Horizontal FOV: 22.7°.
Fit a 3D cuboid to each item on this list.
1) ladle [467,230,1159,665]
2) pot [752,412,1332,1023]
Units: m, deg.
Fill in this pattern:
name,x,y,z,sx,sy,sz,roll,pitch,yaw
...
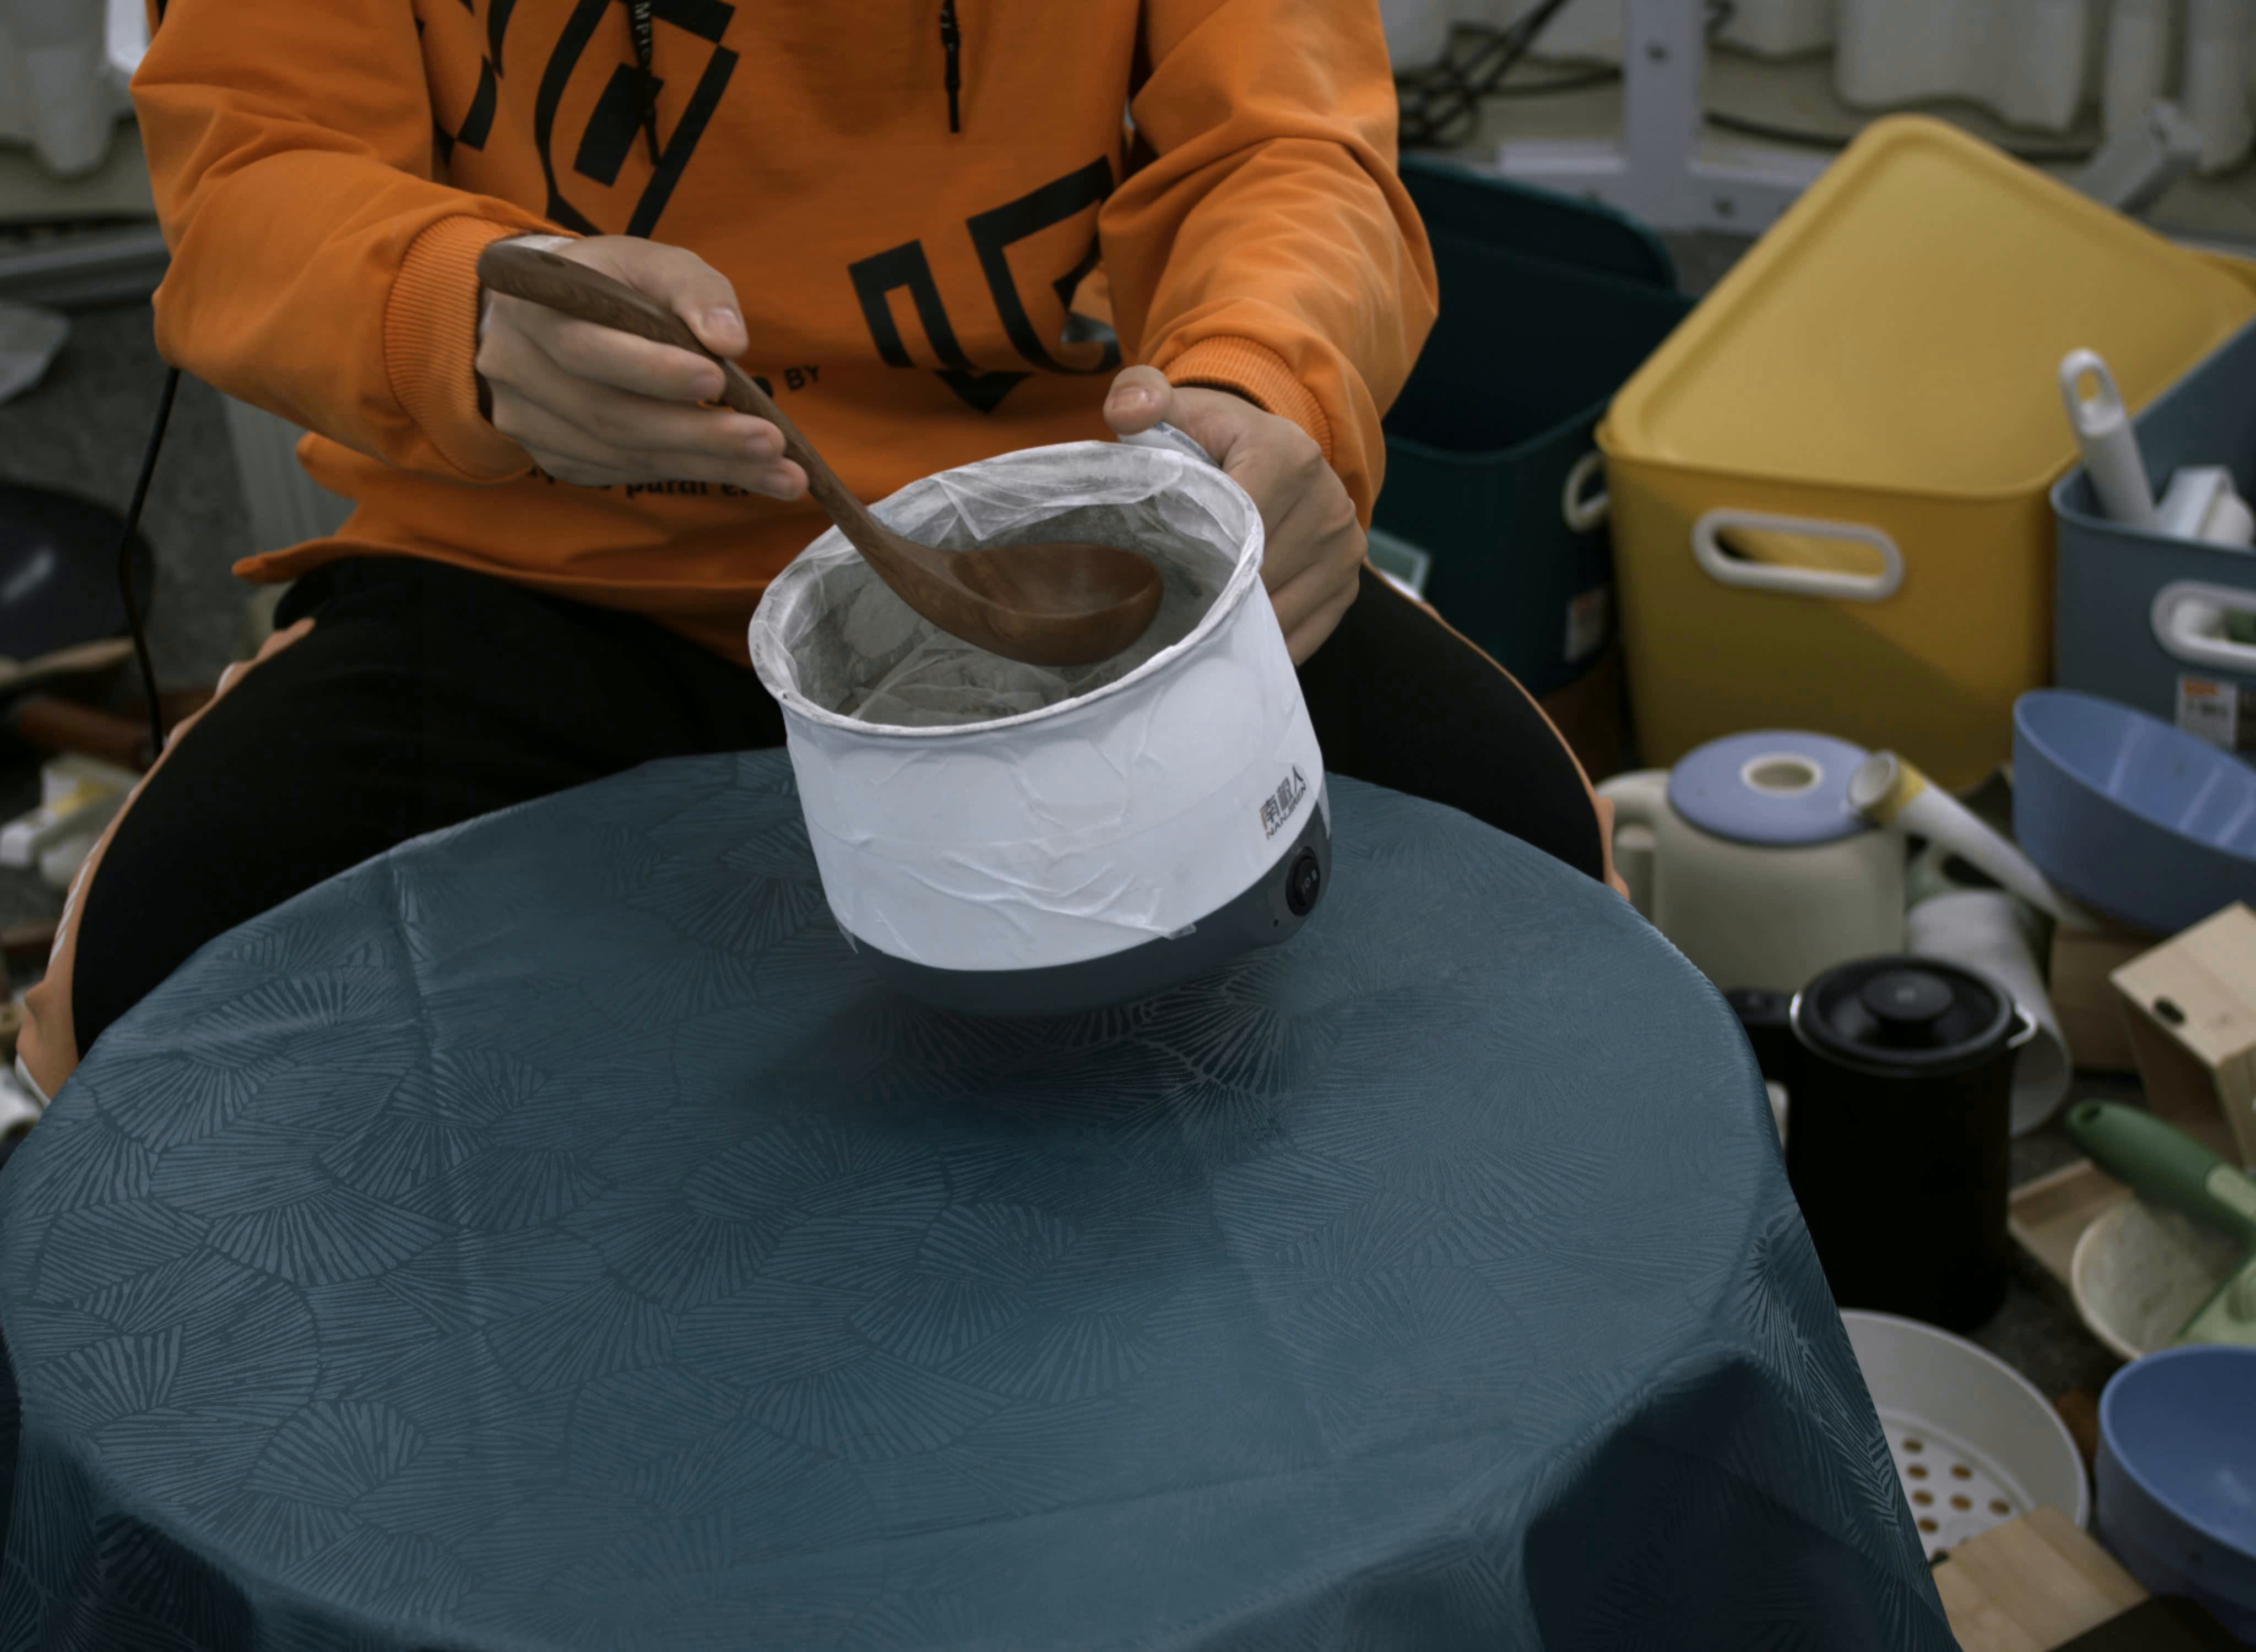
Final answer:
name,x,y,z,sx,sy,sz,roll,pitch,yaw
ladle,-0.102,-0.135,1.882,0.259,0.065,0.077,38,8,-17
pot,-0.015,-0.045,1.927,0.177,0.135,0.238,5,37,28
